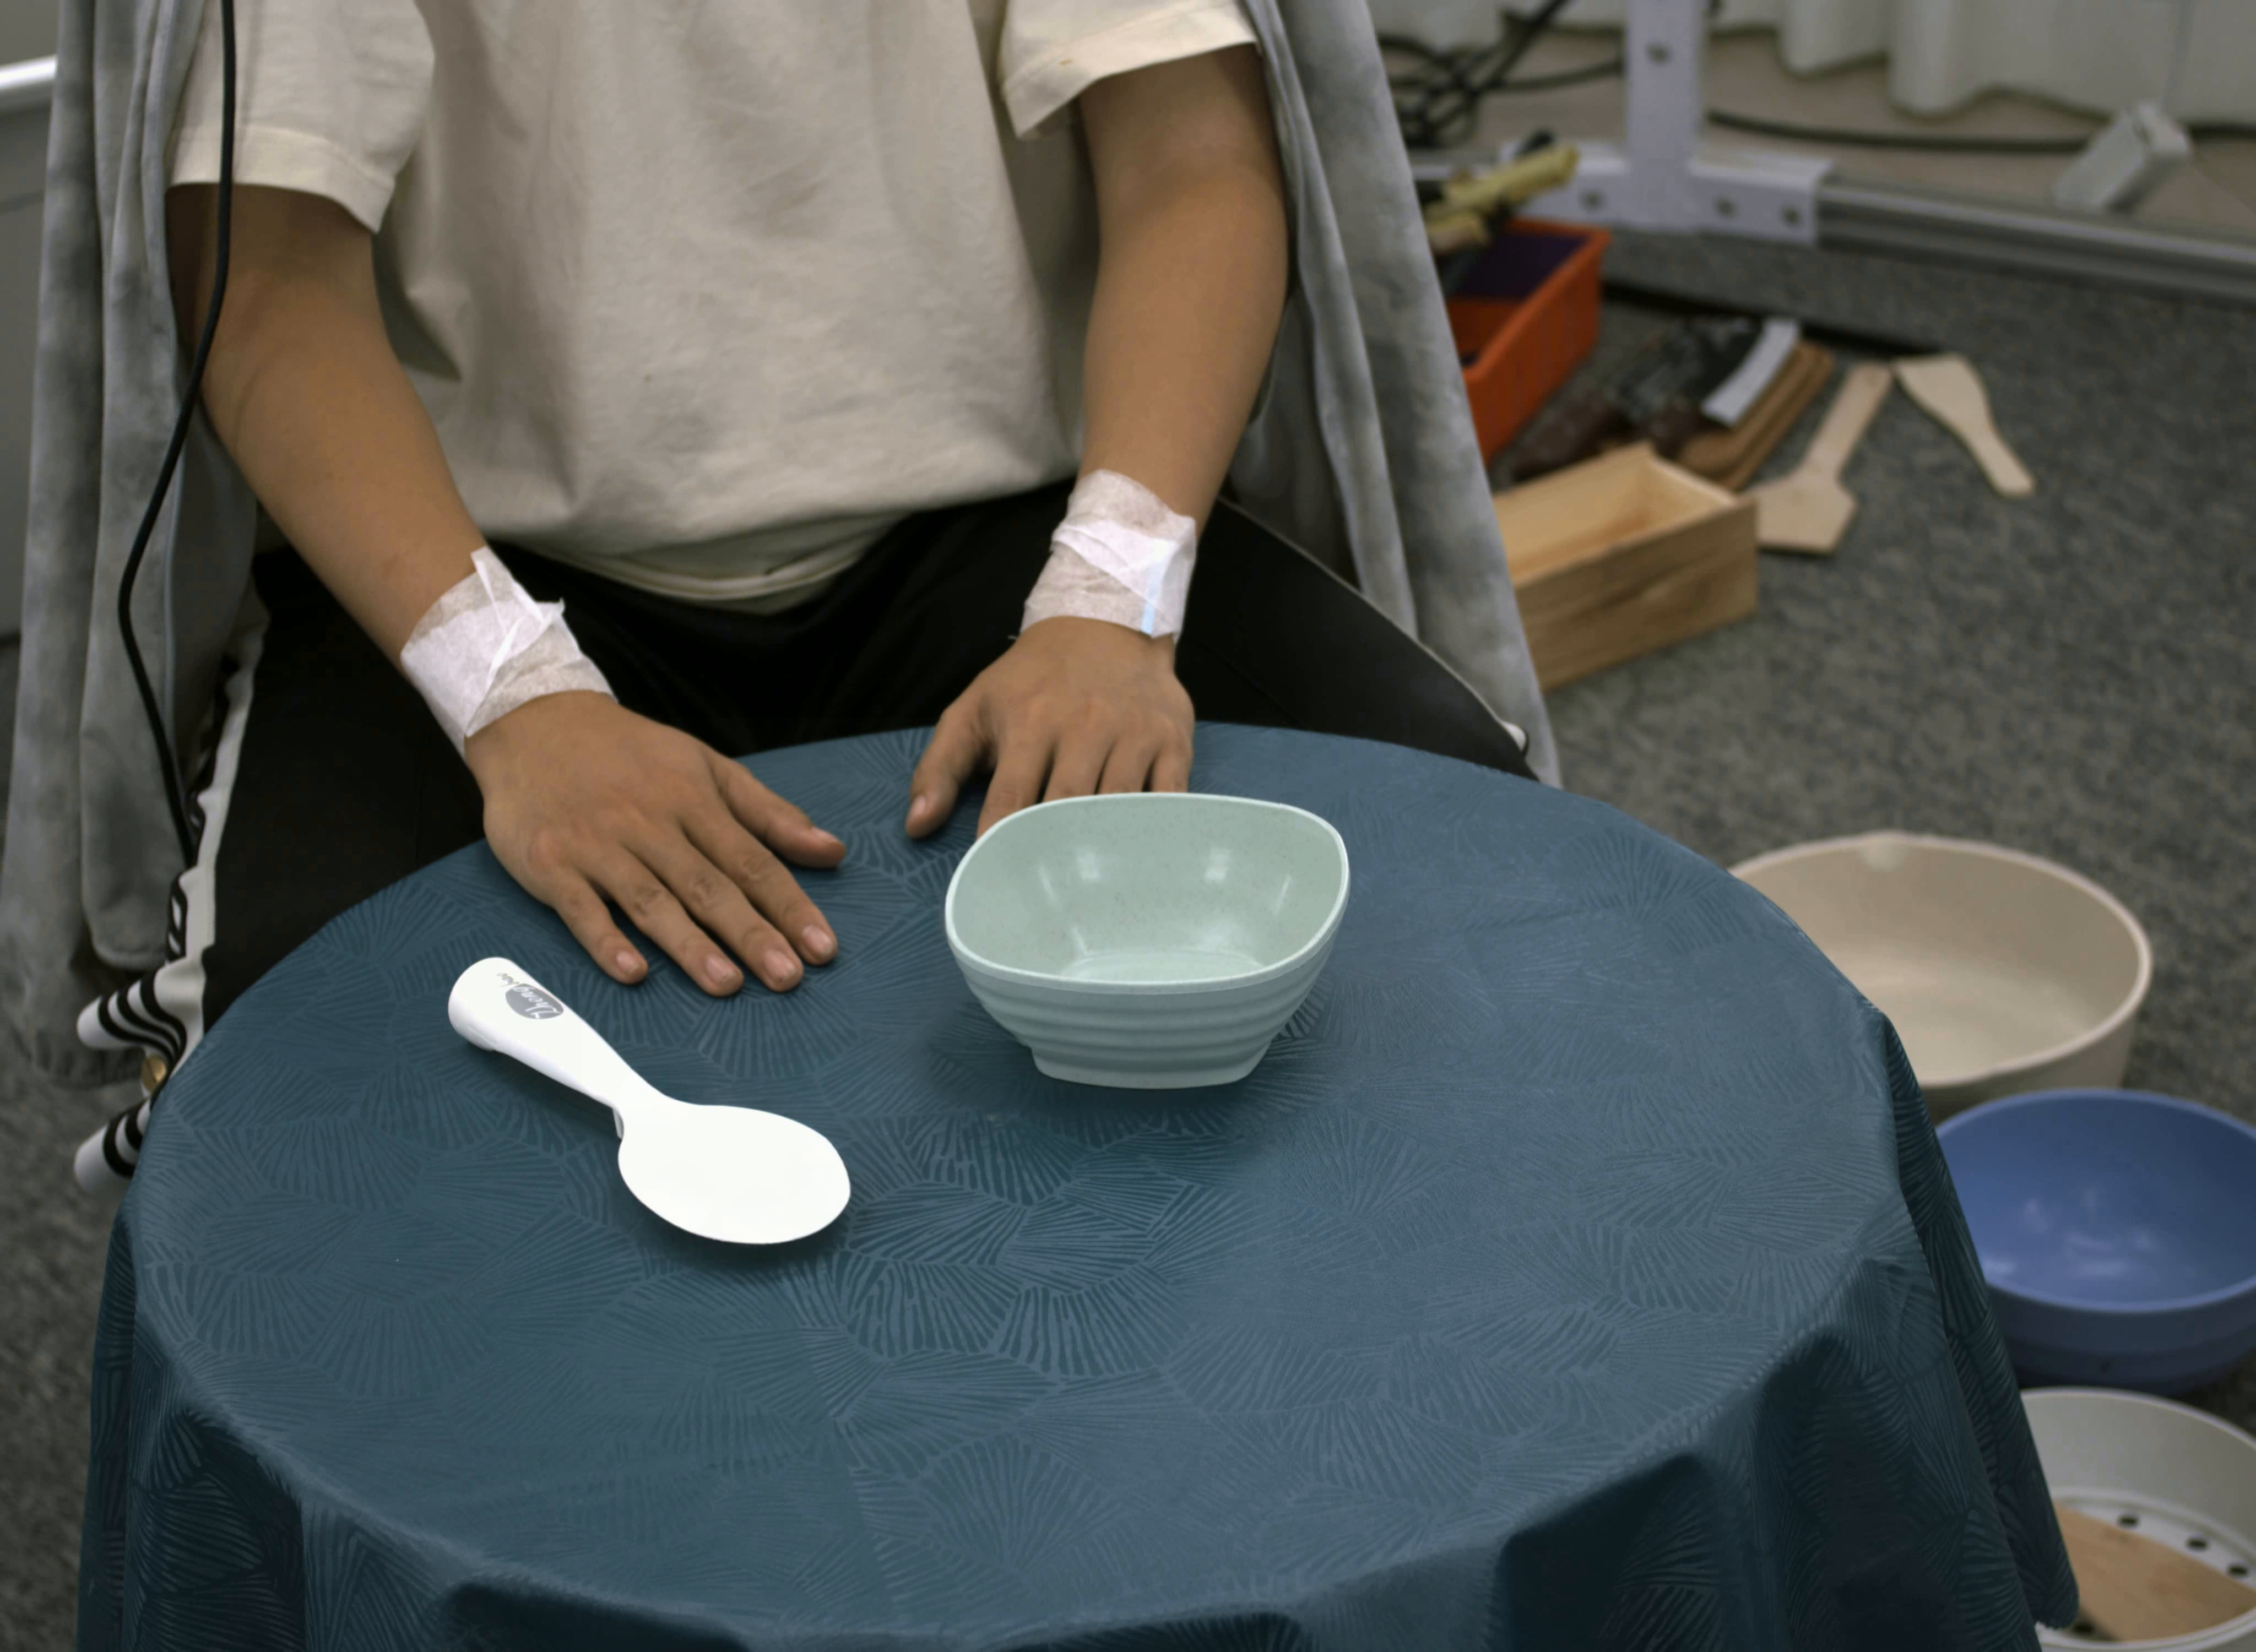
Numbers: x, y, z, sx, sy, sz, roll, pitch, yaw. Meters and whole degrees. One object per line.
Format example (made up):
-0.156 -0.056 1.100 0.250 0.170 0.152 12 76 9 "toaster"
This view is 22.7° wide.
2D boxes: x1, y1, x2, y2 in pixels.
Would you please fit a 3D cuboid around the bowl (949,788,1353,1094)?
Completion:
0.010 0.046 1.946 0.150 0.058 0.154 -3 29 2 "bowl"

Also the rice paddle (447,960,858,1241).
-0.163 0.094 1.897 0.069 0.029 0.205 -23 33 -31 "rice paddle"
